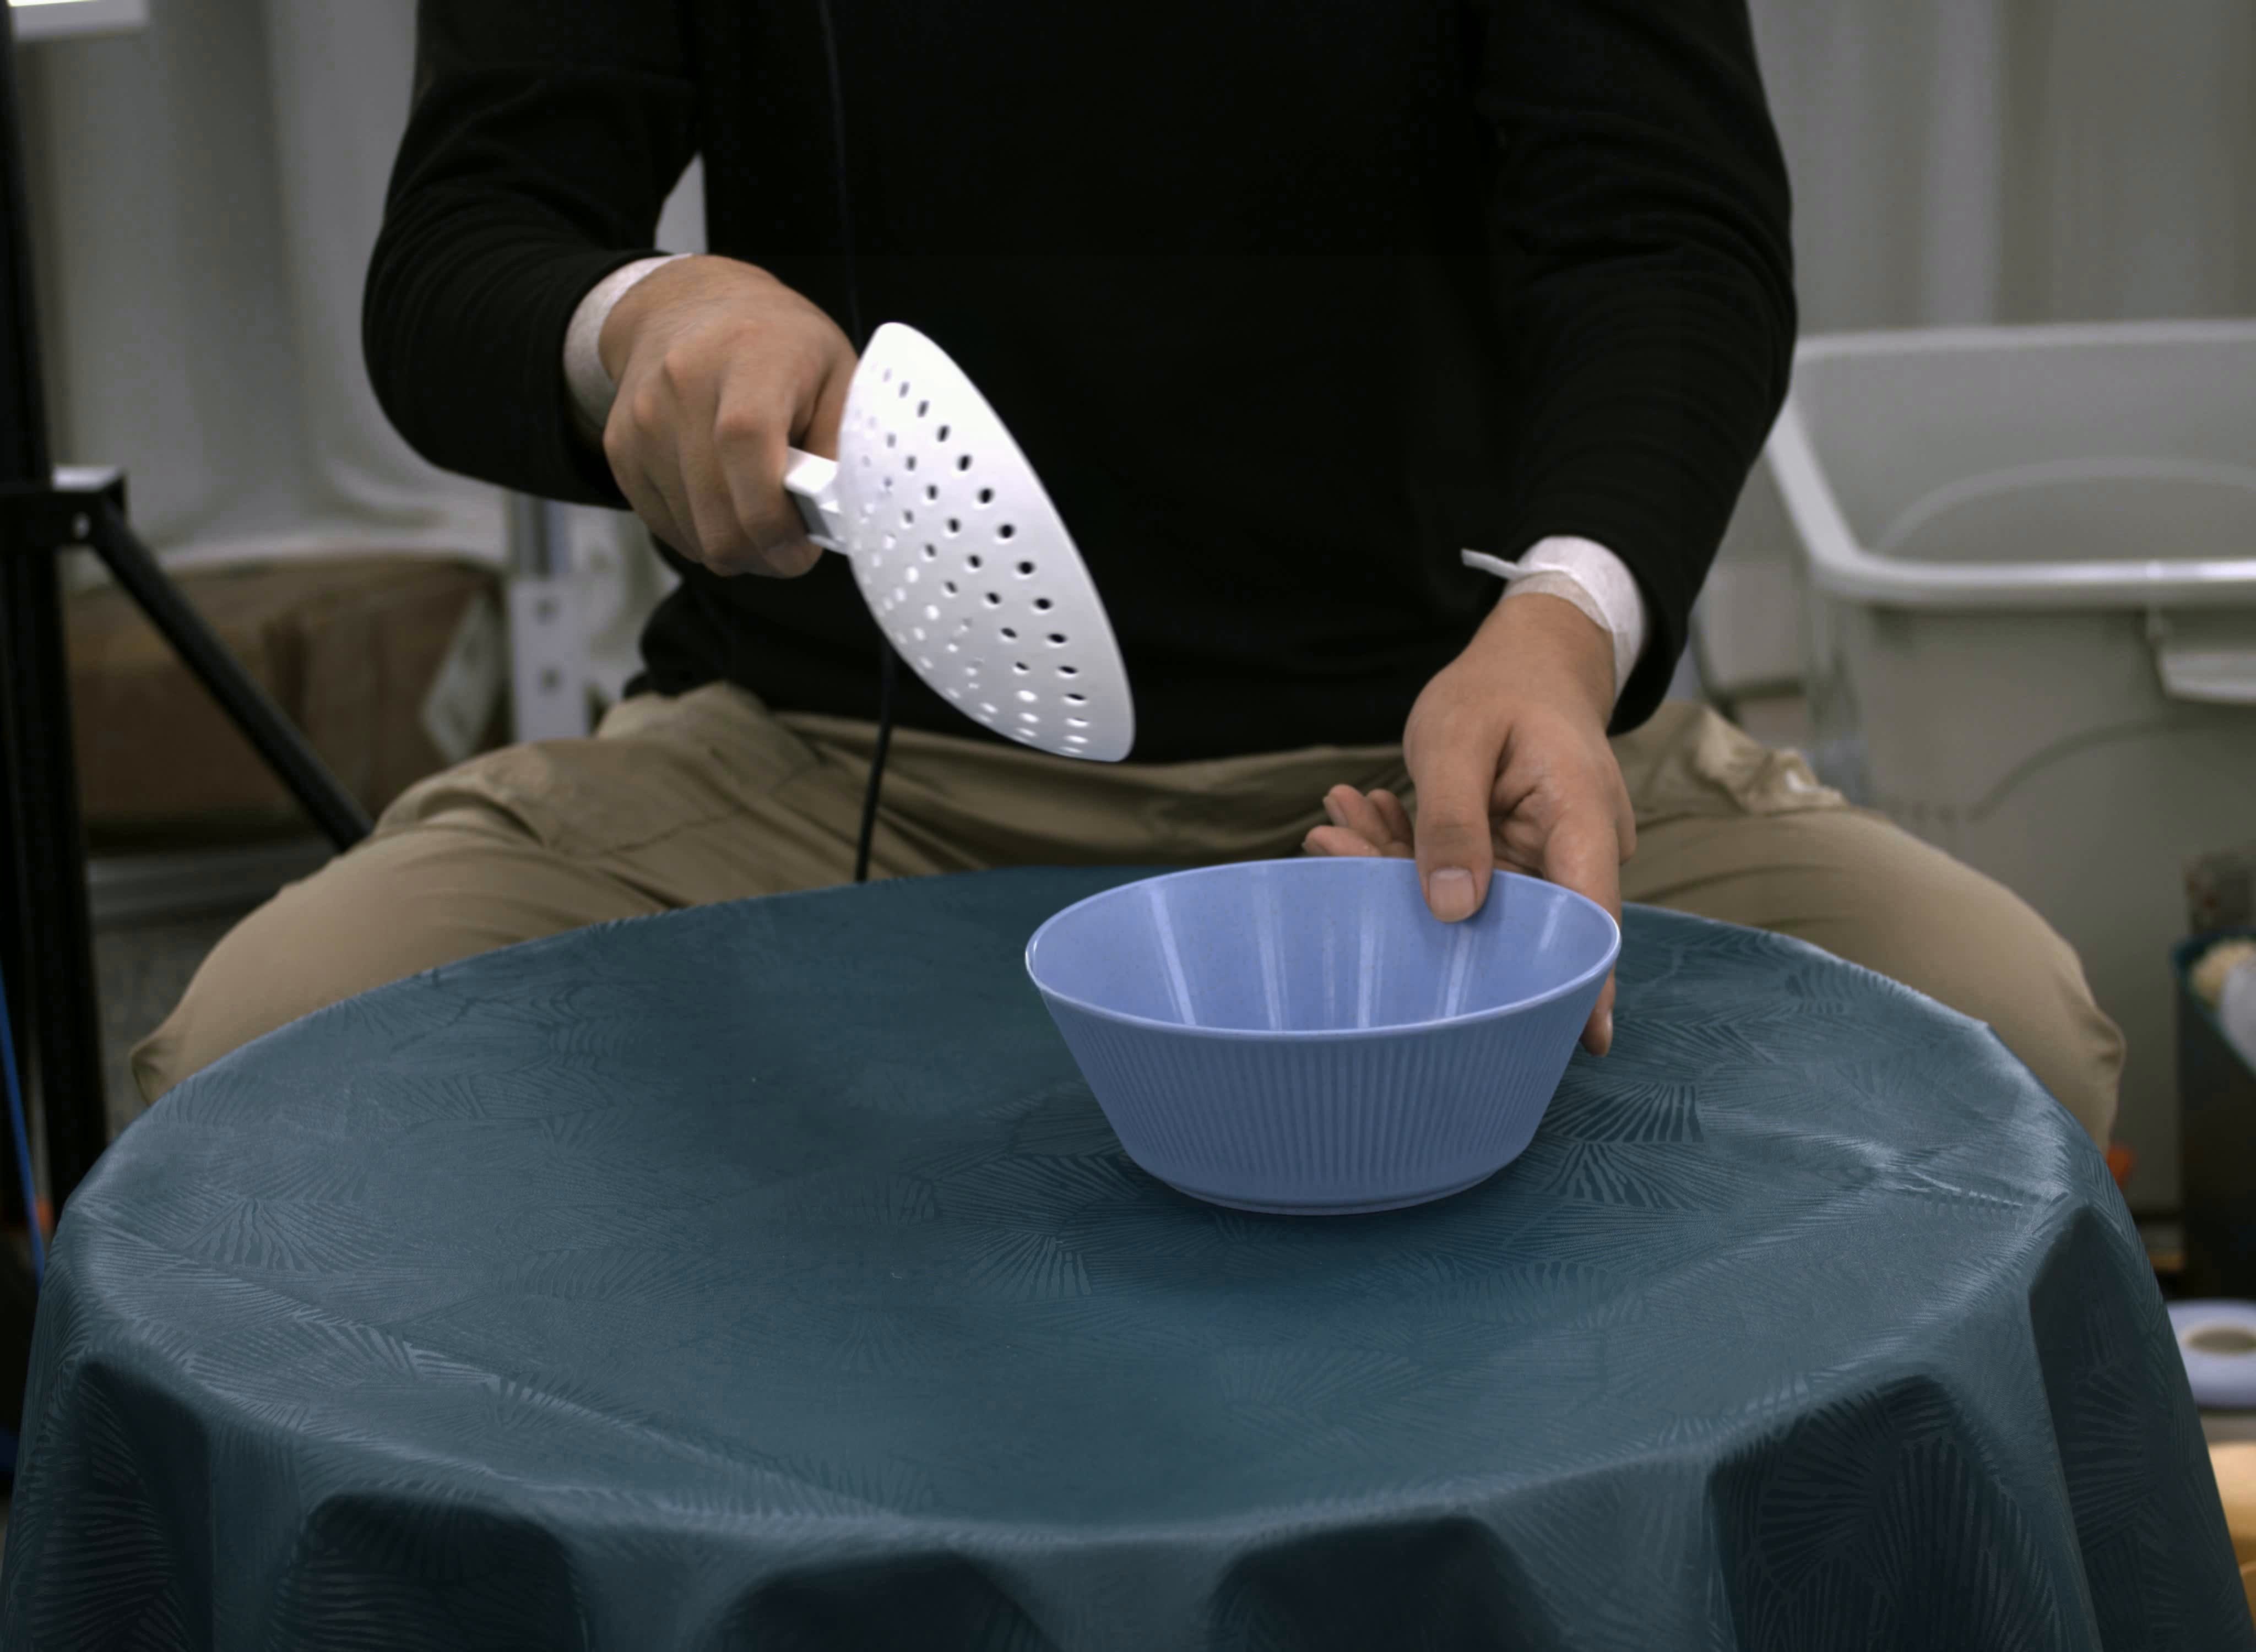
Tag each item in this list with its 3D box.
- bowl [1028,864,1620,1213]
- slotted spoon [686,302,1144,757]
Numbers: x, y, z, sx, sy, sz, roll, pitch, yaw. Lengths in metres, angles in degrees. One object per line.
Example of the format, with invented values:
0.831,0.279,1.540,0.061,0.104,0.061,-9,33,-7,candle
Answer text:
0.059,0.065,1.572,0.175,0.070,0.177,-3,15,-1,bowl
-0.074,-0.094,1.565,0.045,0.135,0.354,-25,16,-10,slotted spoon
